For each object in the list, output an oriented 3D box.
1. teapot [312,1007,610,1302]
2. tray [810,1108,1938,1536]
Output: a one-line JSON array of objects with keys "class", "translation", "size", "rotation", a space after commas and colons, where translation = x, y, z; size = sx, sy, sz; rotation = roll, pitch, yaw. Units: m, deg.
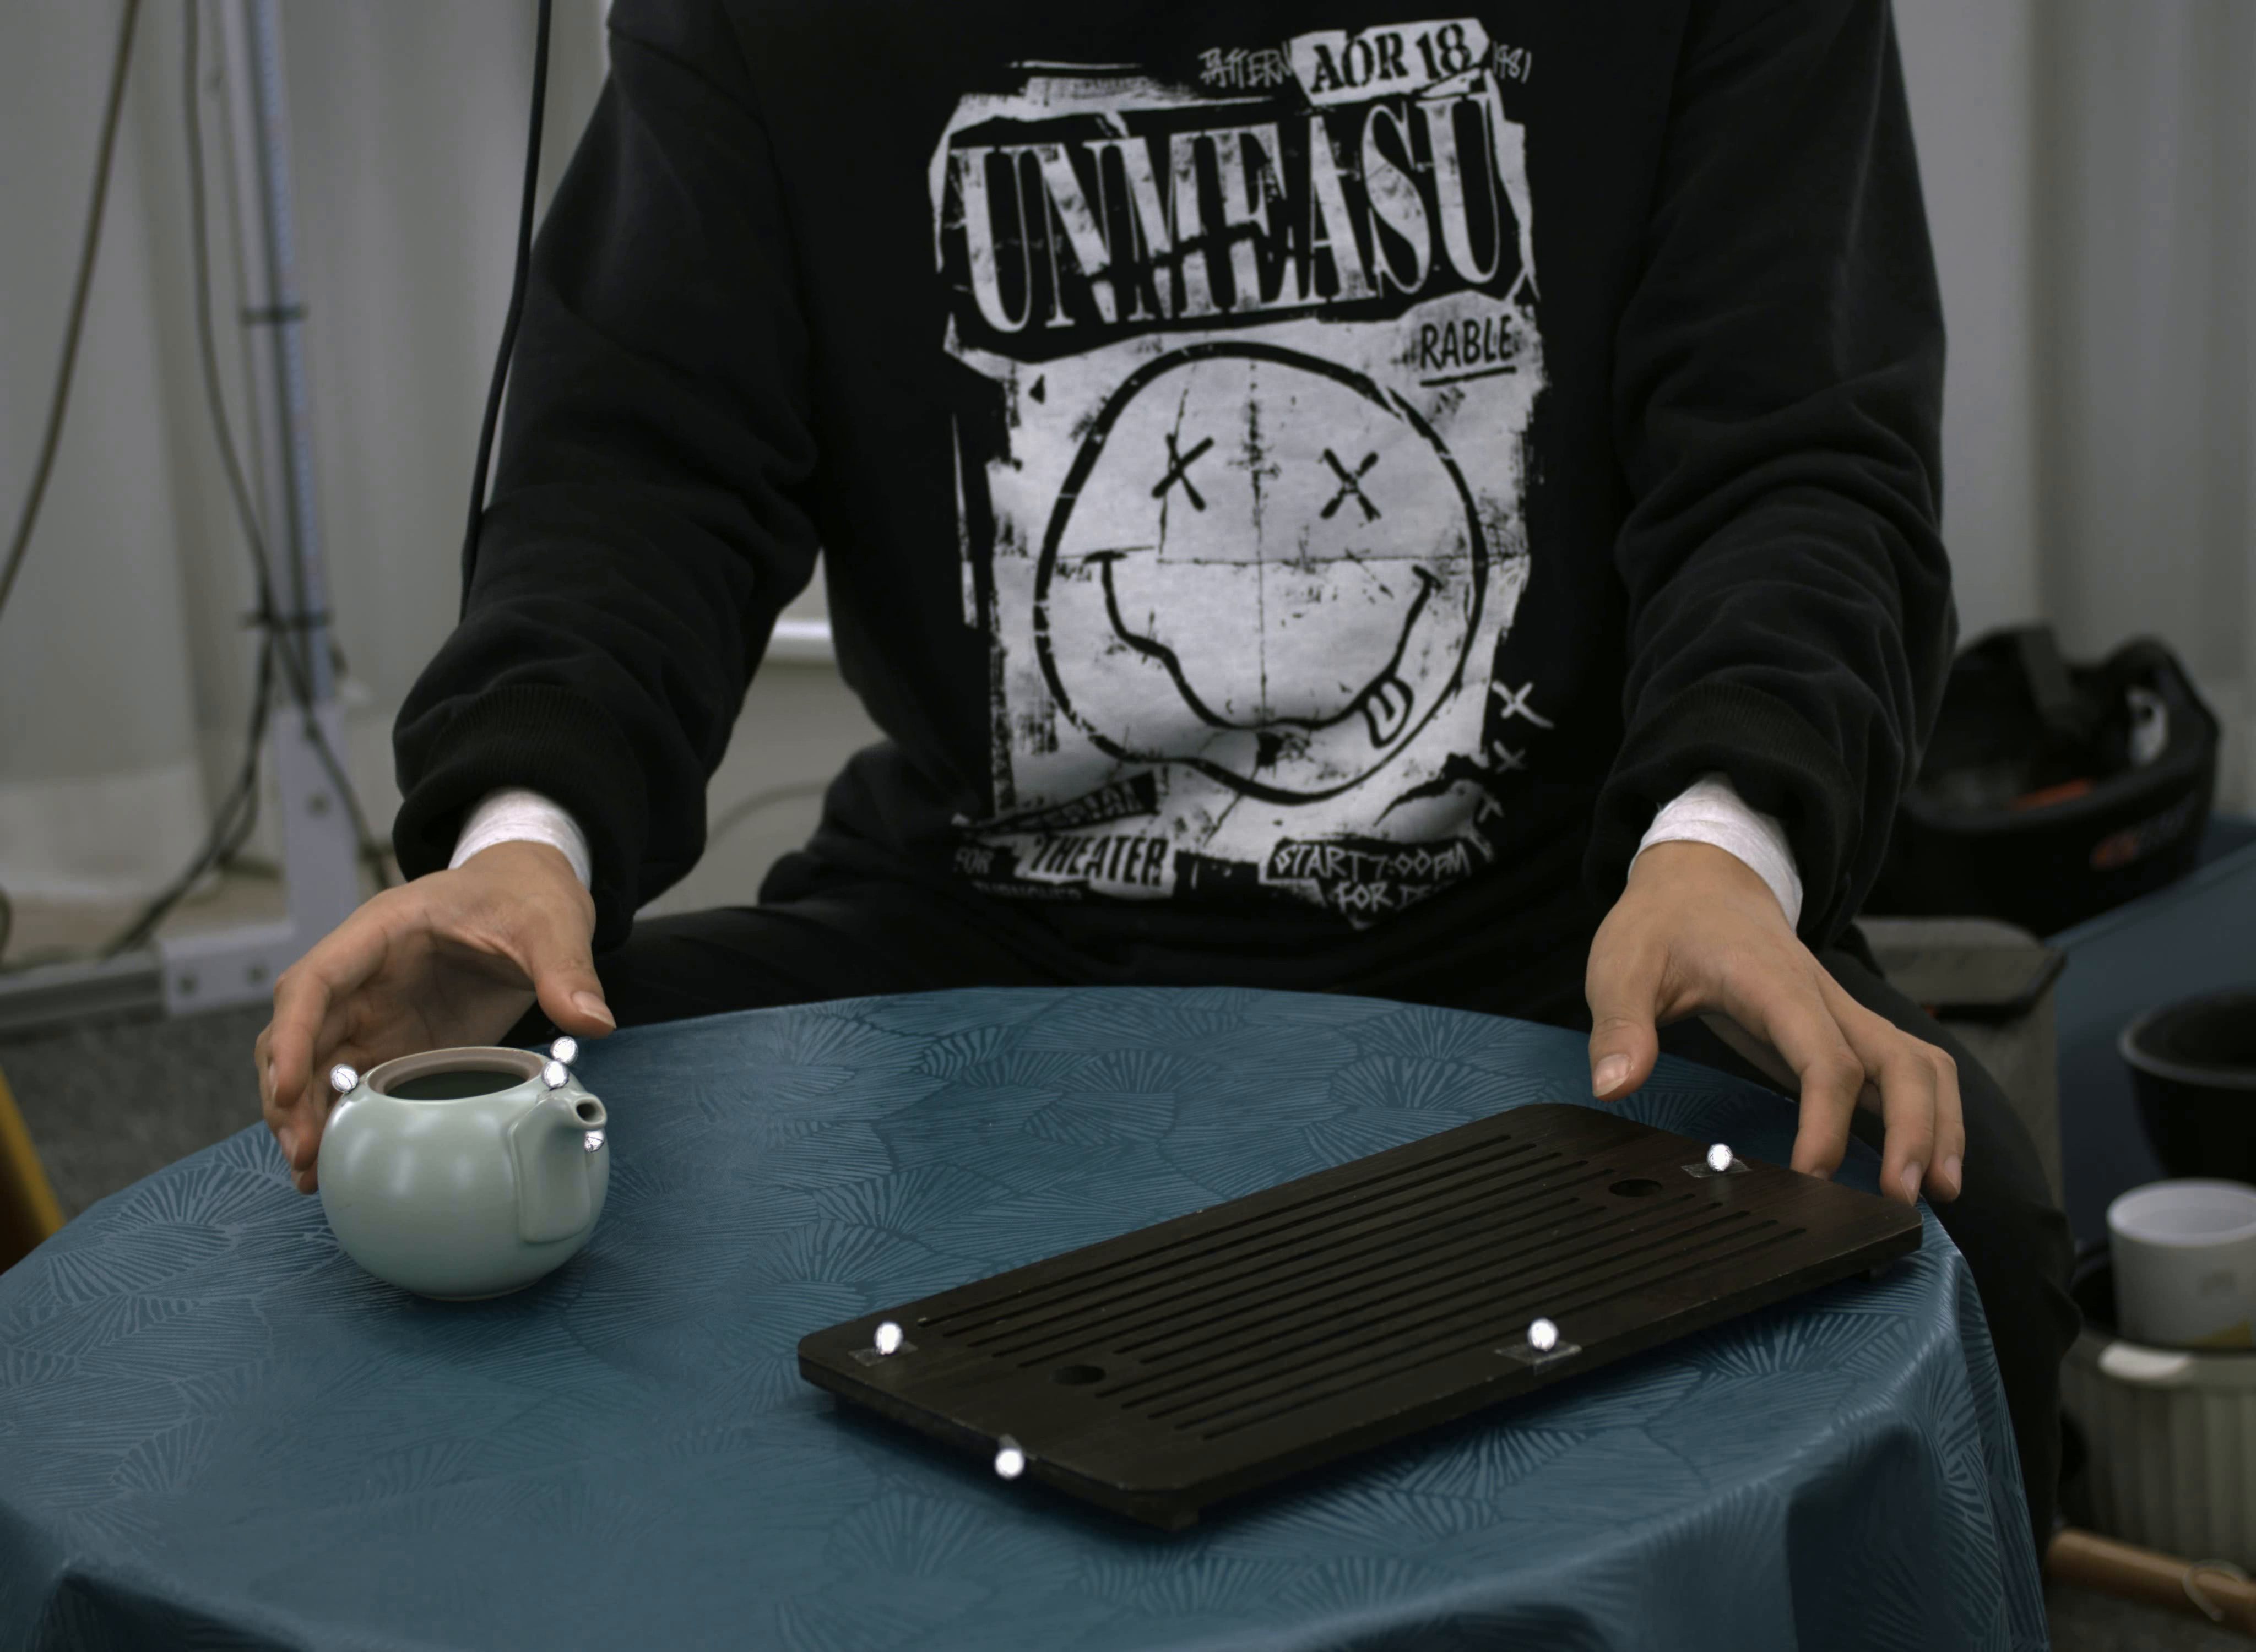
[{"class": "teapot", "translation": [-0.201, 0.103, 1.657], "size": [0.088, 0.074, 0.145], "rotation": [-14, 20, -38]}, {"class": "tray", "translation": [0.074, 0.139, 1.574], "size": [0.305, 0.018, 0.171], "rotation": [-14, 18, -37]}]
